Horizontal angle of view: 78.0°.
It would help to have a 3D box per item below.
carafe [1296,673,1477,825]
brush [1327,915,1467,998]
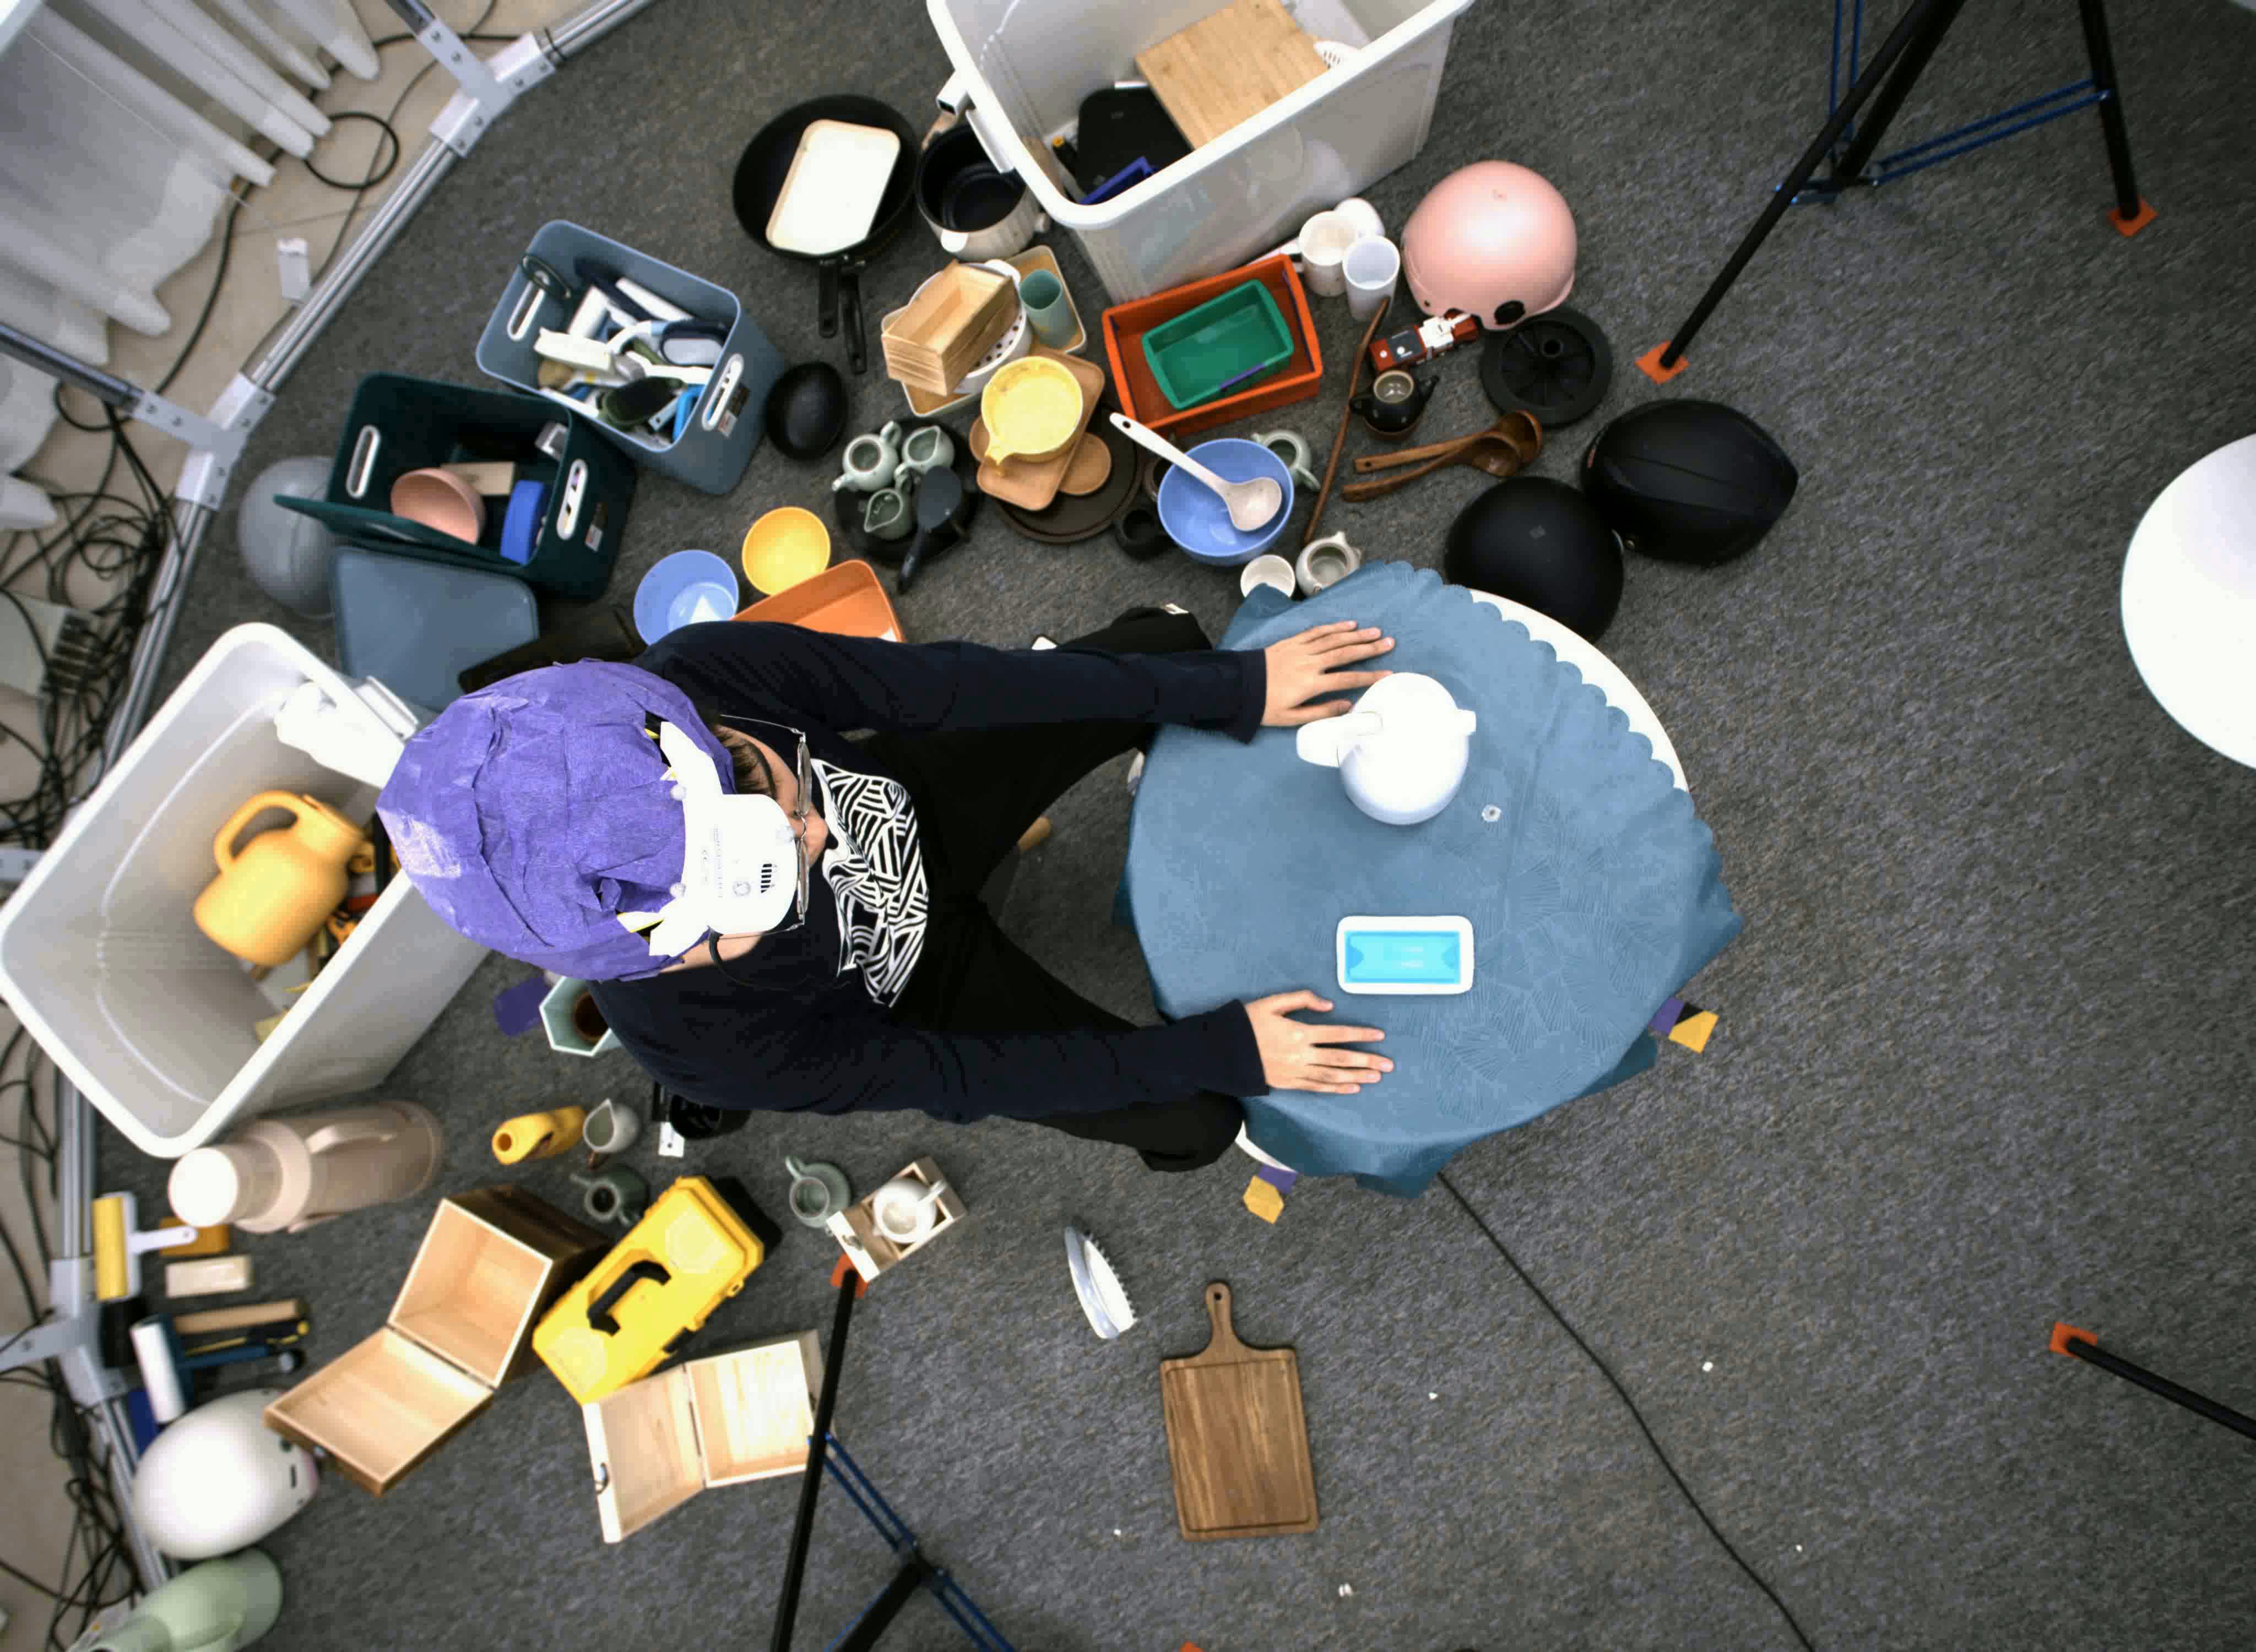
[{"bbox_3d":[0.250,-0.078,1.344,0.168,0.249,0.132,-4,84,11],"label":"carafe"},{"bbox_3d":[0.278,0.132,1.423,0.144,0.056,0.083,2,84,8],"label":"brush"}]
